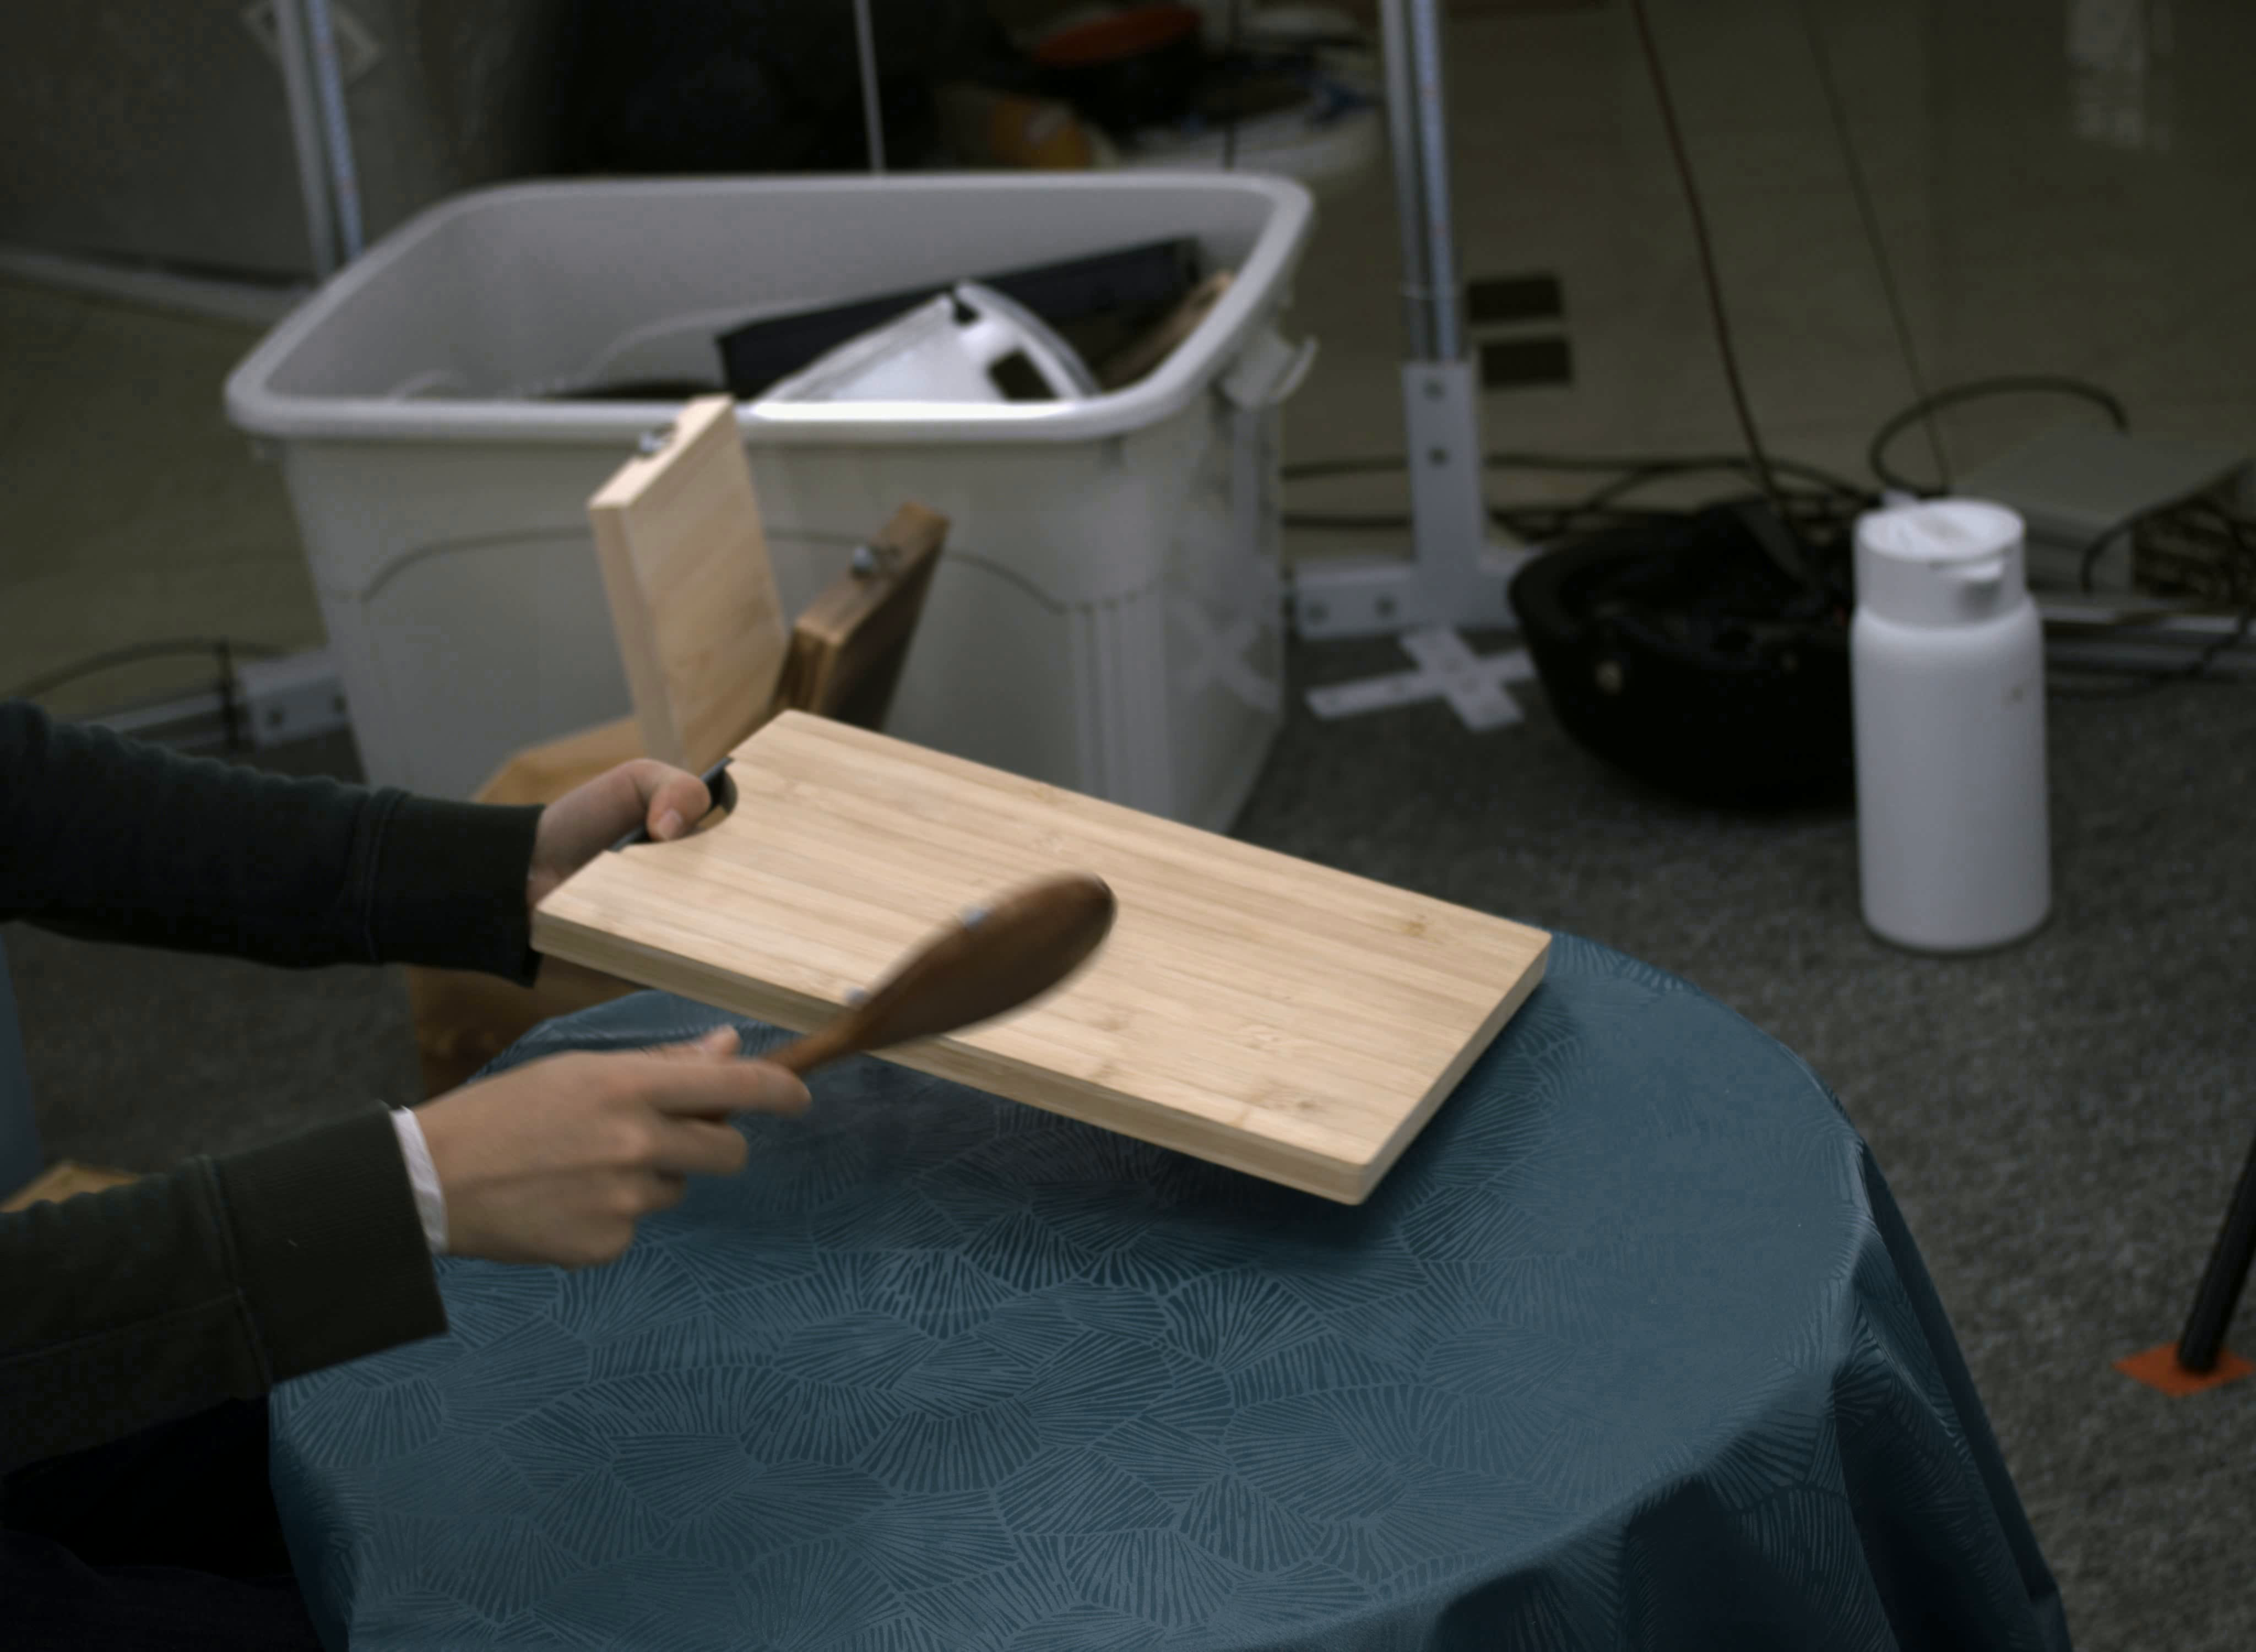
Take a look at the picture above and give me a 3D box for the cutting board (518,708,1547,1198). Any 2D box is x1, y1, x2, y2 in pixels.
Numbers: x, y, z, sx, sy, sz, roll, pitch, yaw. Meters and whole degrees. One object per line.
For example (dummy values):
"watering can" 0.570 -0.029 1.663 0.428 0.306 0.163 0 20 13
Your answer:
"cutting board" -0.033 0.045 2.216 0.347 0.024 0.248 16 24 14

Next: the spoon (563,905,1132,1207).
"spoon" -0.094 0.081 1.949 0.215 0.076 0.017 -24 70 -9
